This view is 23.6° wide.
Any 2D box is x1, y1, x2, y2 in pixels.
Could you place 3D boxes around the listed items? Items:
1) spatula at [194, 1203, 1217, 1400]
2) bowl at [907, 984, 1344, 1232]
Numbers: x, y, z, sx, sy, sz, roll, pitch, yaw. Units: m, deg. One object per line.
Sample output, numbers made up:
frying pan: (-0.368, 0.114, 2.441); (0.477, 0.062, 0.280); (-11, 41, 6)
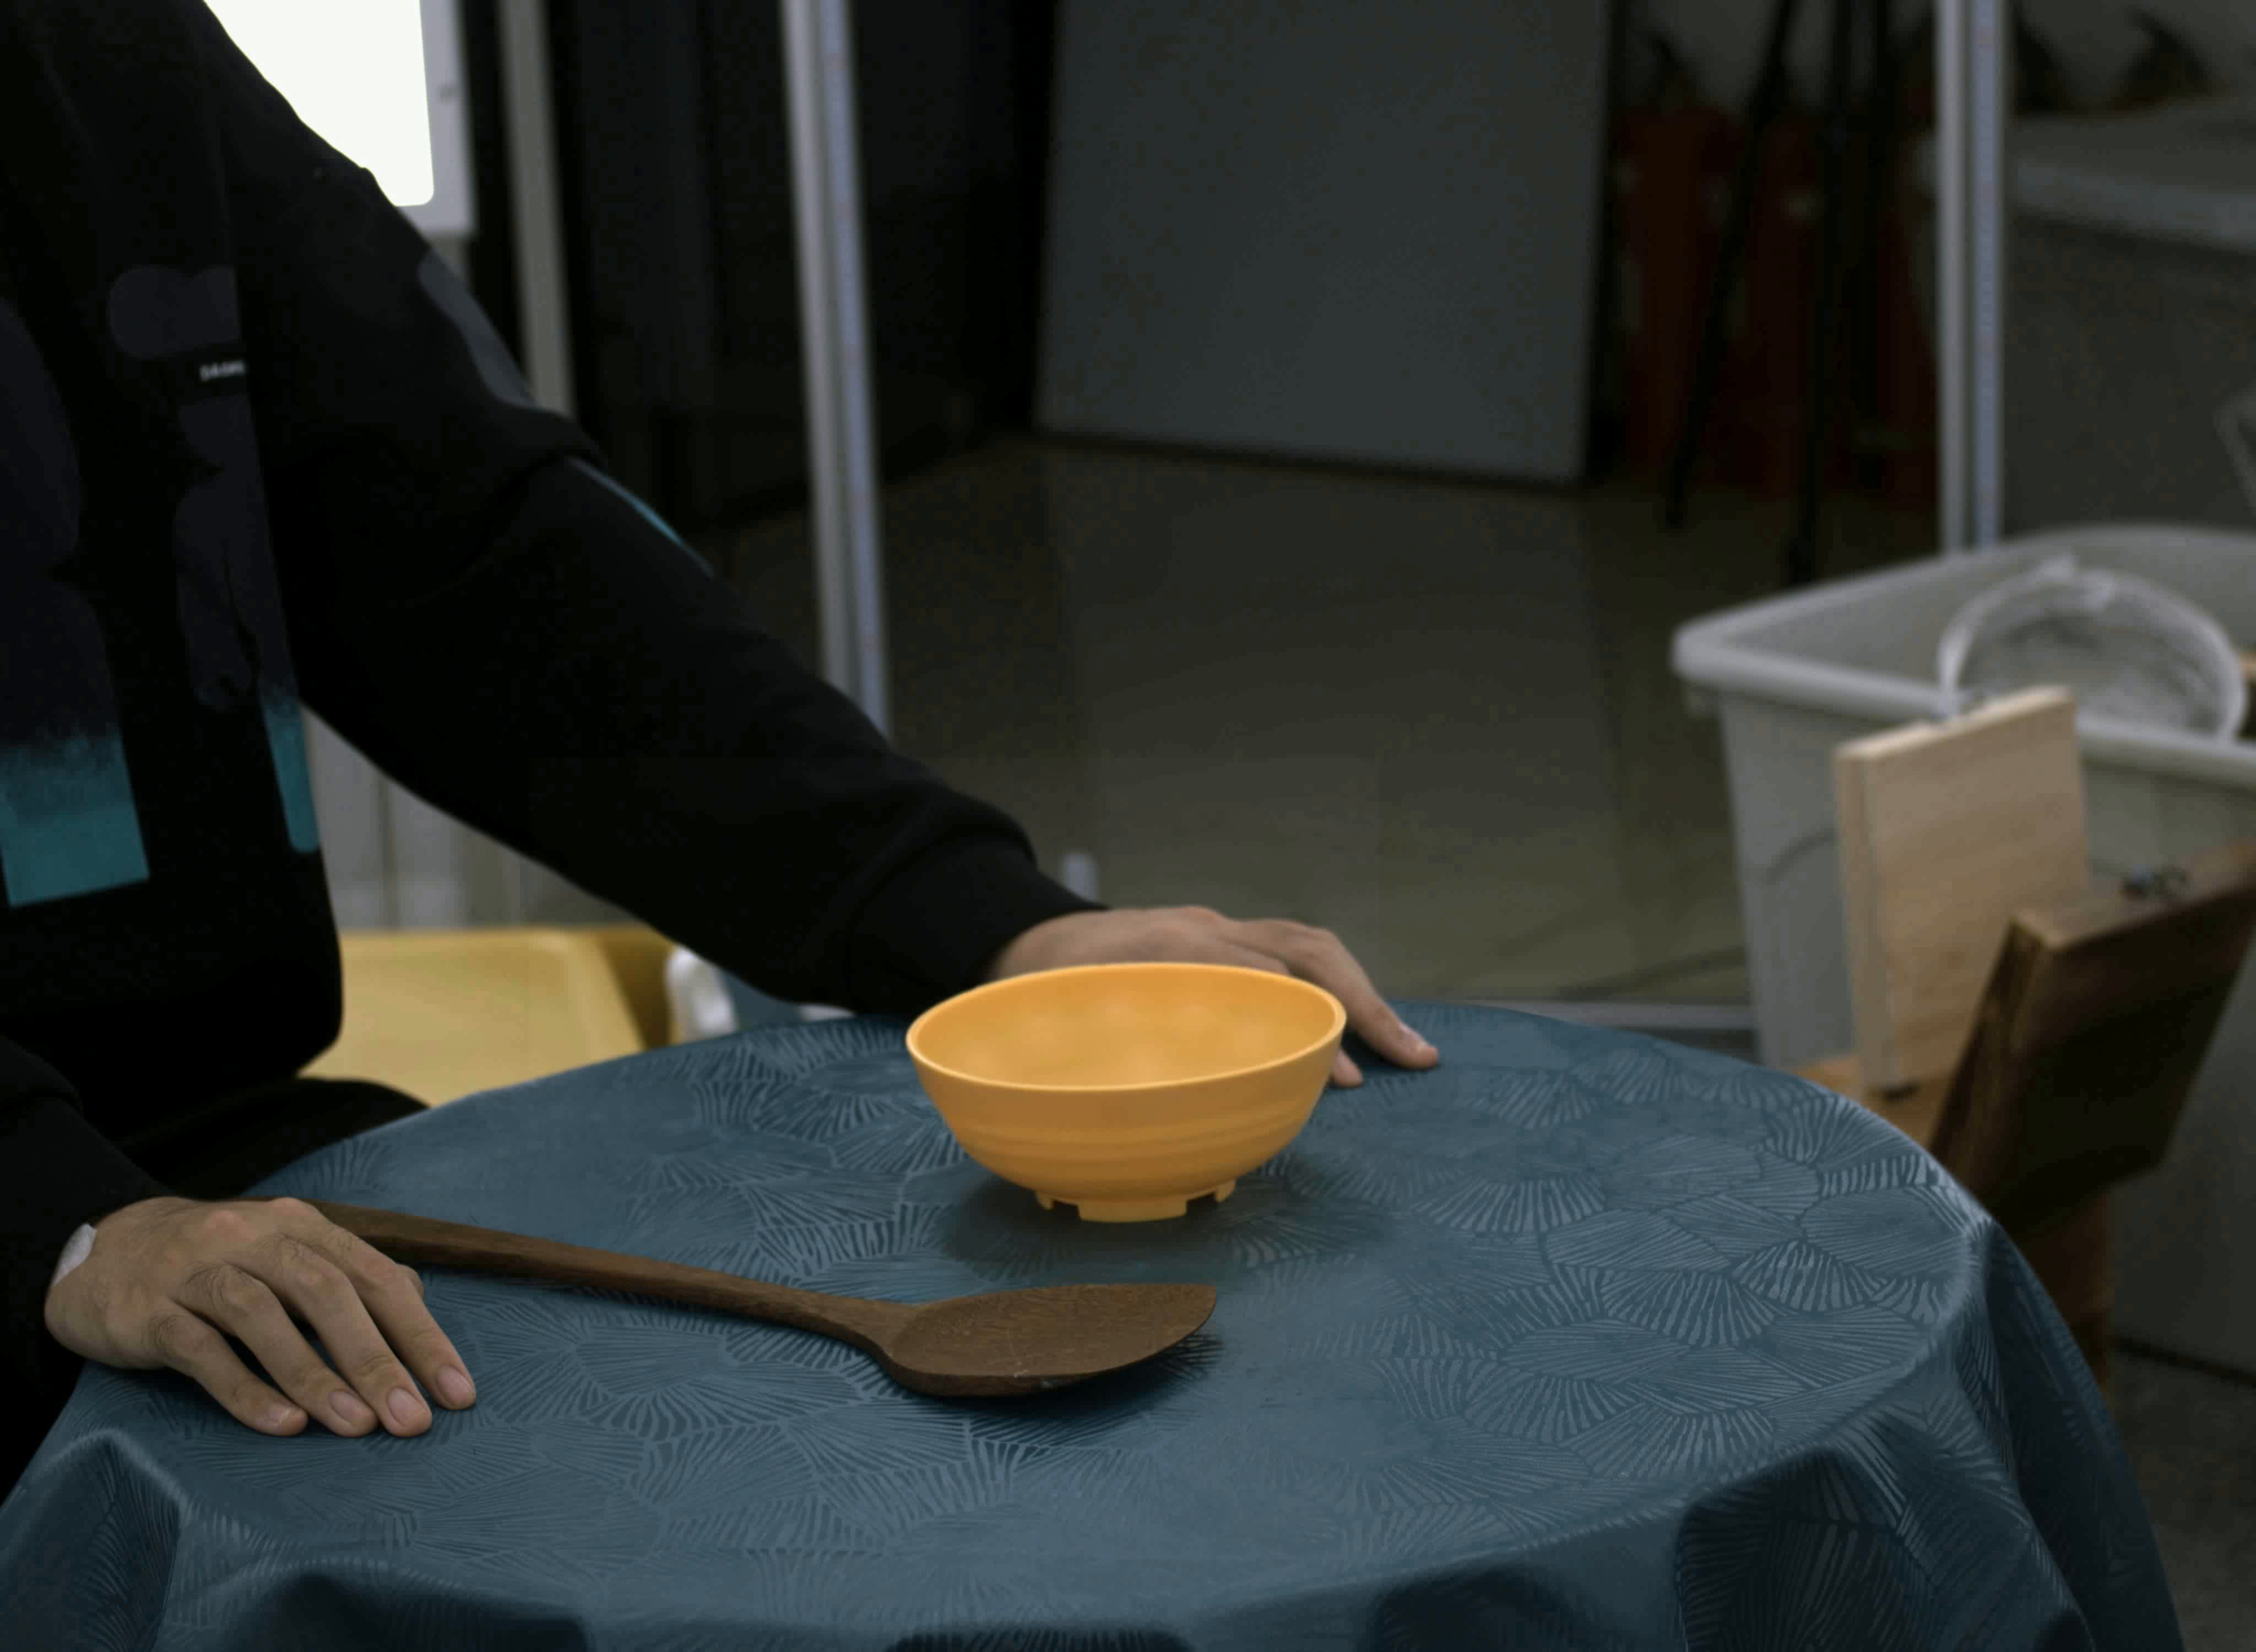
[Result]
spatula: (-0.147, 0.144, 1.694); (0.388, 0.016, 0.094); (5, 16, 33)
bowl: (0.000, 0.095, 1.762); (0.143, 0.061, 0.145); (-3, 11, 0)
